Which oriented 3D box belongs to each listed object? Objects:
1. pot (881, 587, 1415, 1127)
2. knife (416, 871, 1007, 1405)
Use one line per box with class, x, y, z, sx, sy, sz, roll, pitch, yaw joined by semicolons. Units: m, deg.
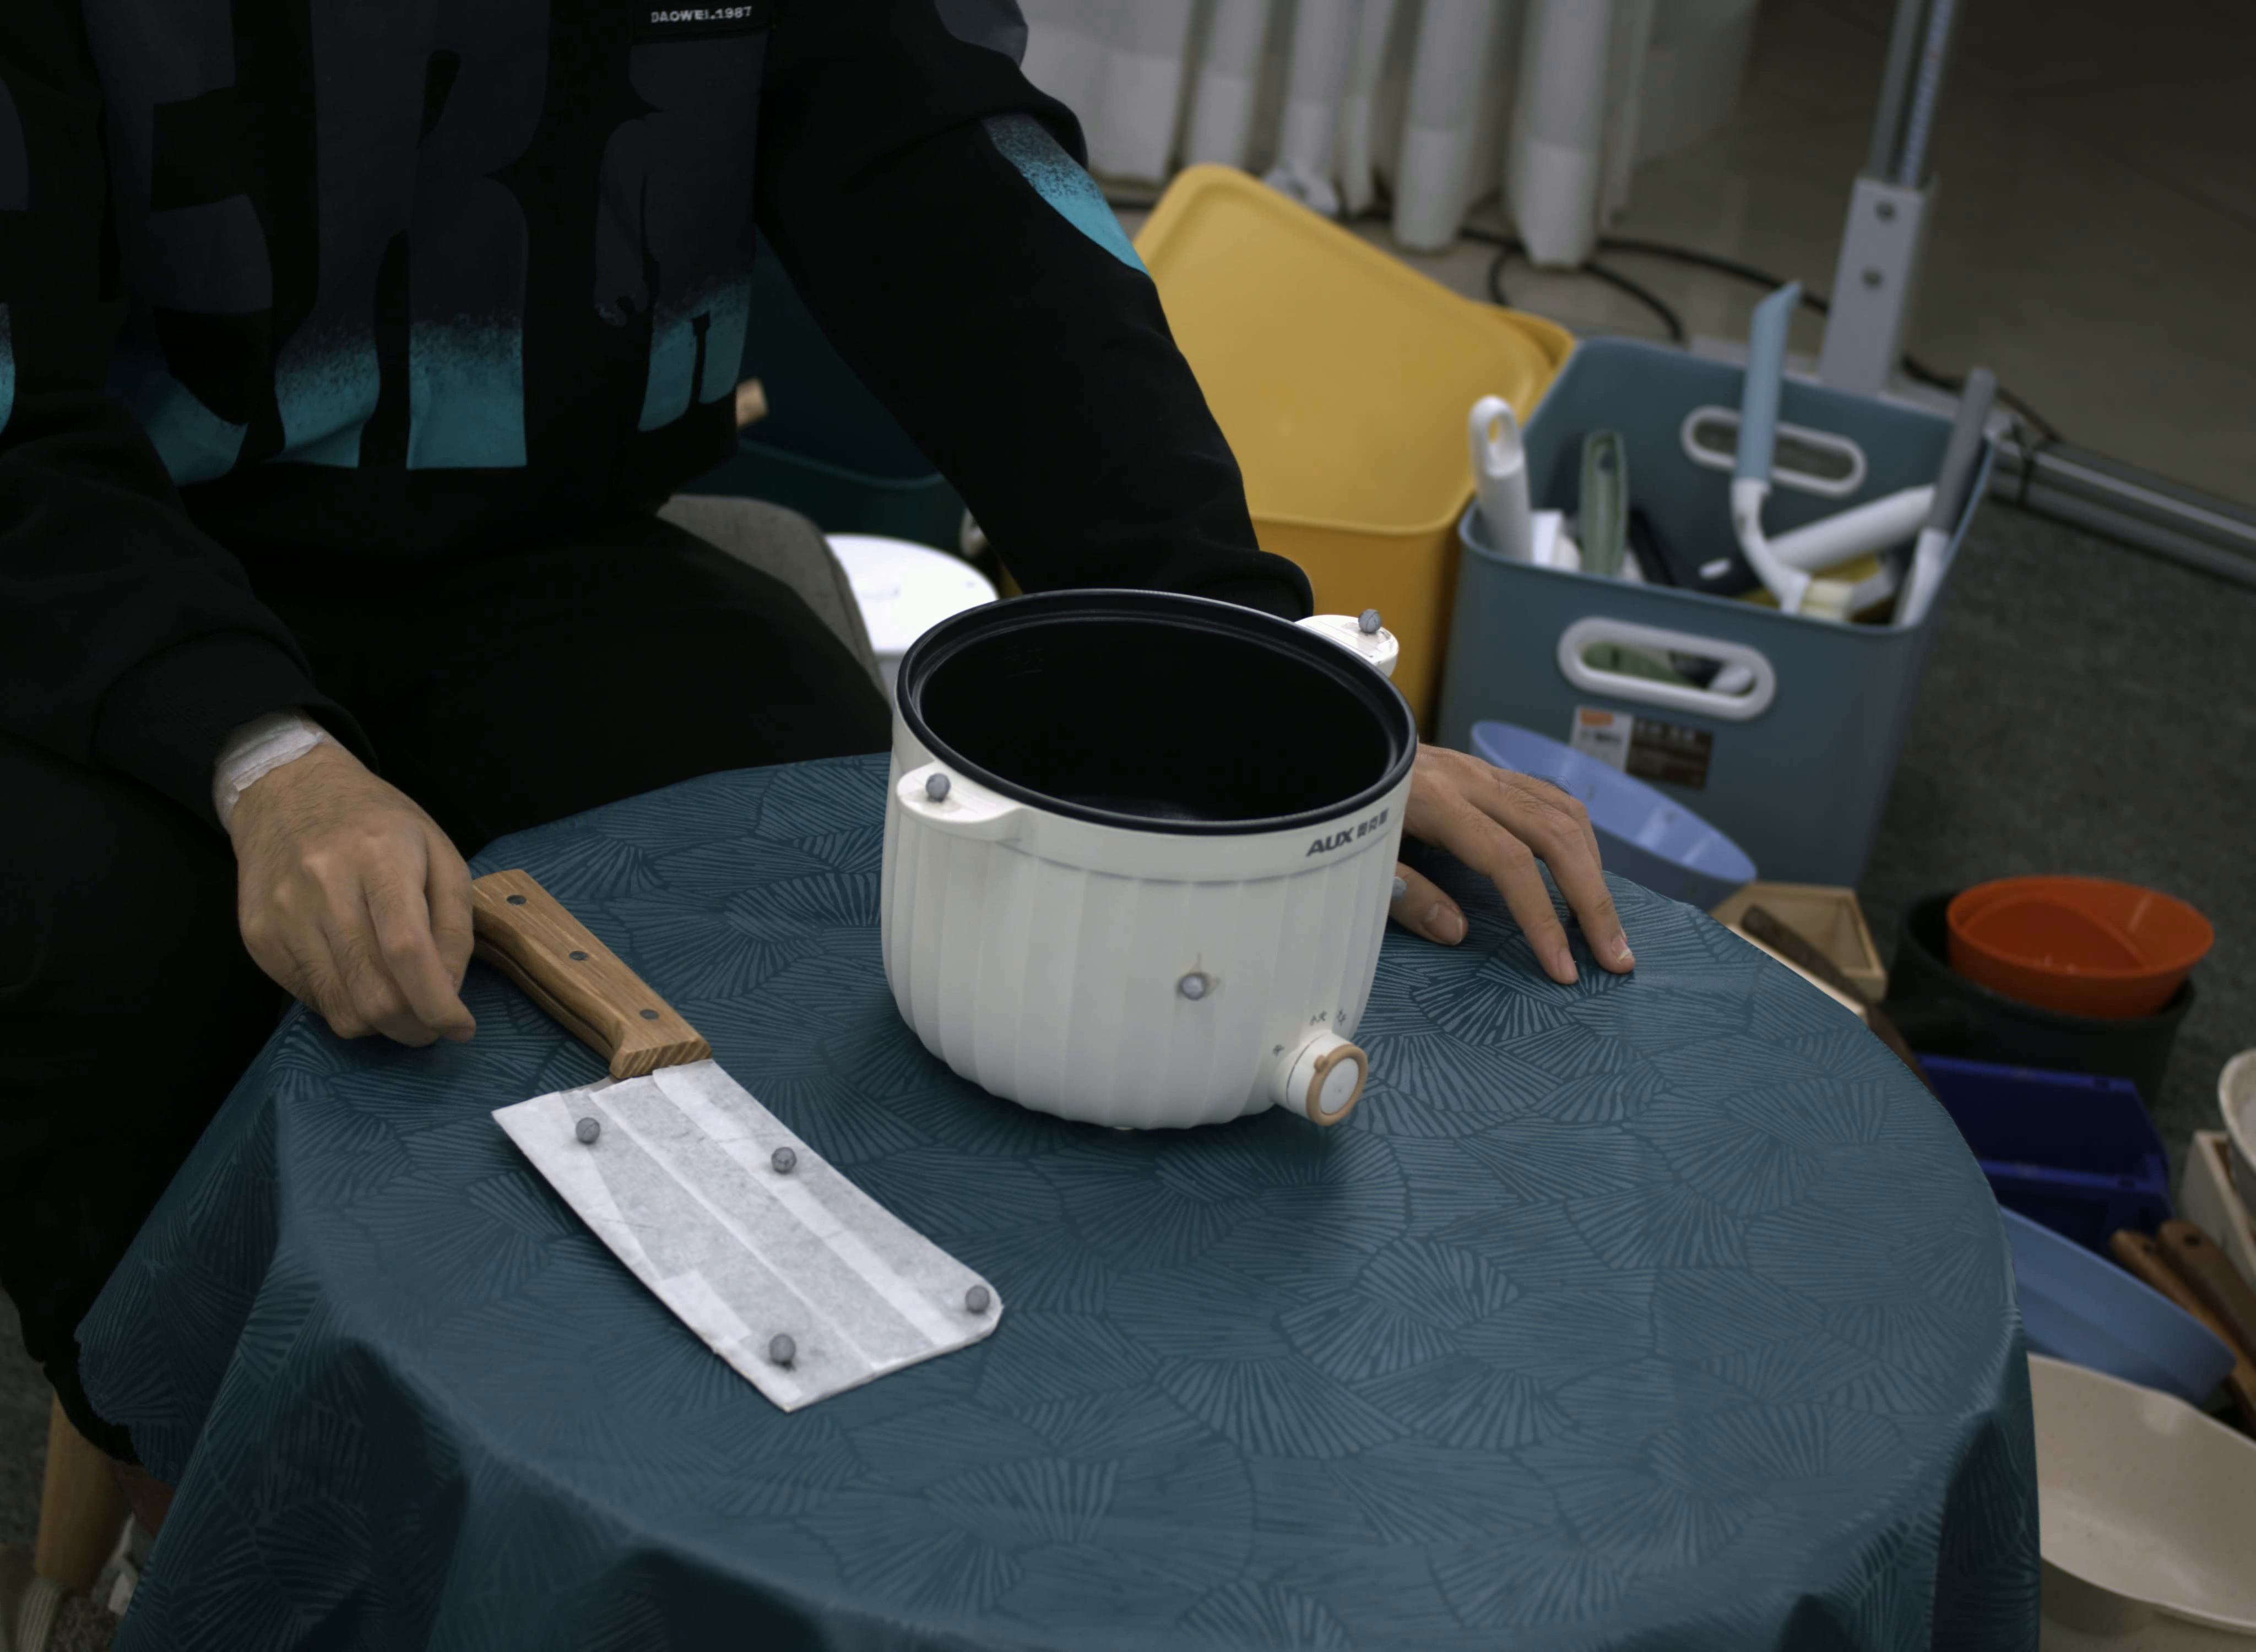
pot;0.008;0.017;1.860;0.192;0.142;0.239;24;32;36
knife;-0.154;0.100;1.794;0.113;0.021;0.318;-12;35;-31
